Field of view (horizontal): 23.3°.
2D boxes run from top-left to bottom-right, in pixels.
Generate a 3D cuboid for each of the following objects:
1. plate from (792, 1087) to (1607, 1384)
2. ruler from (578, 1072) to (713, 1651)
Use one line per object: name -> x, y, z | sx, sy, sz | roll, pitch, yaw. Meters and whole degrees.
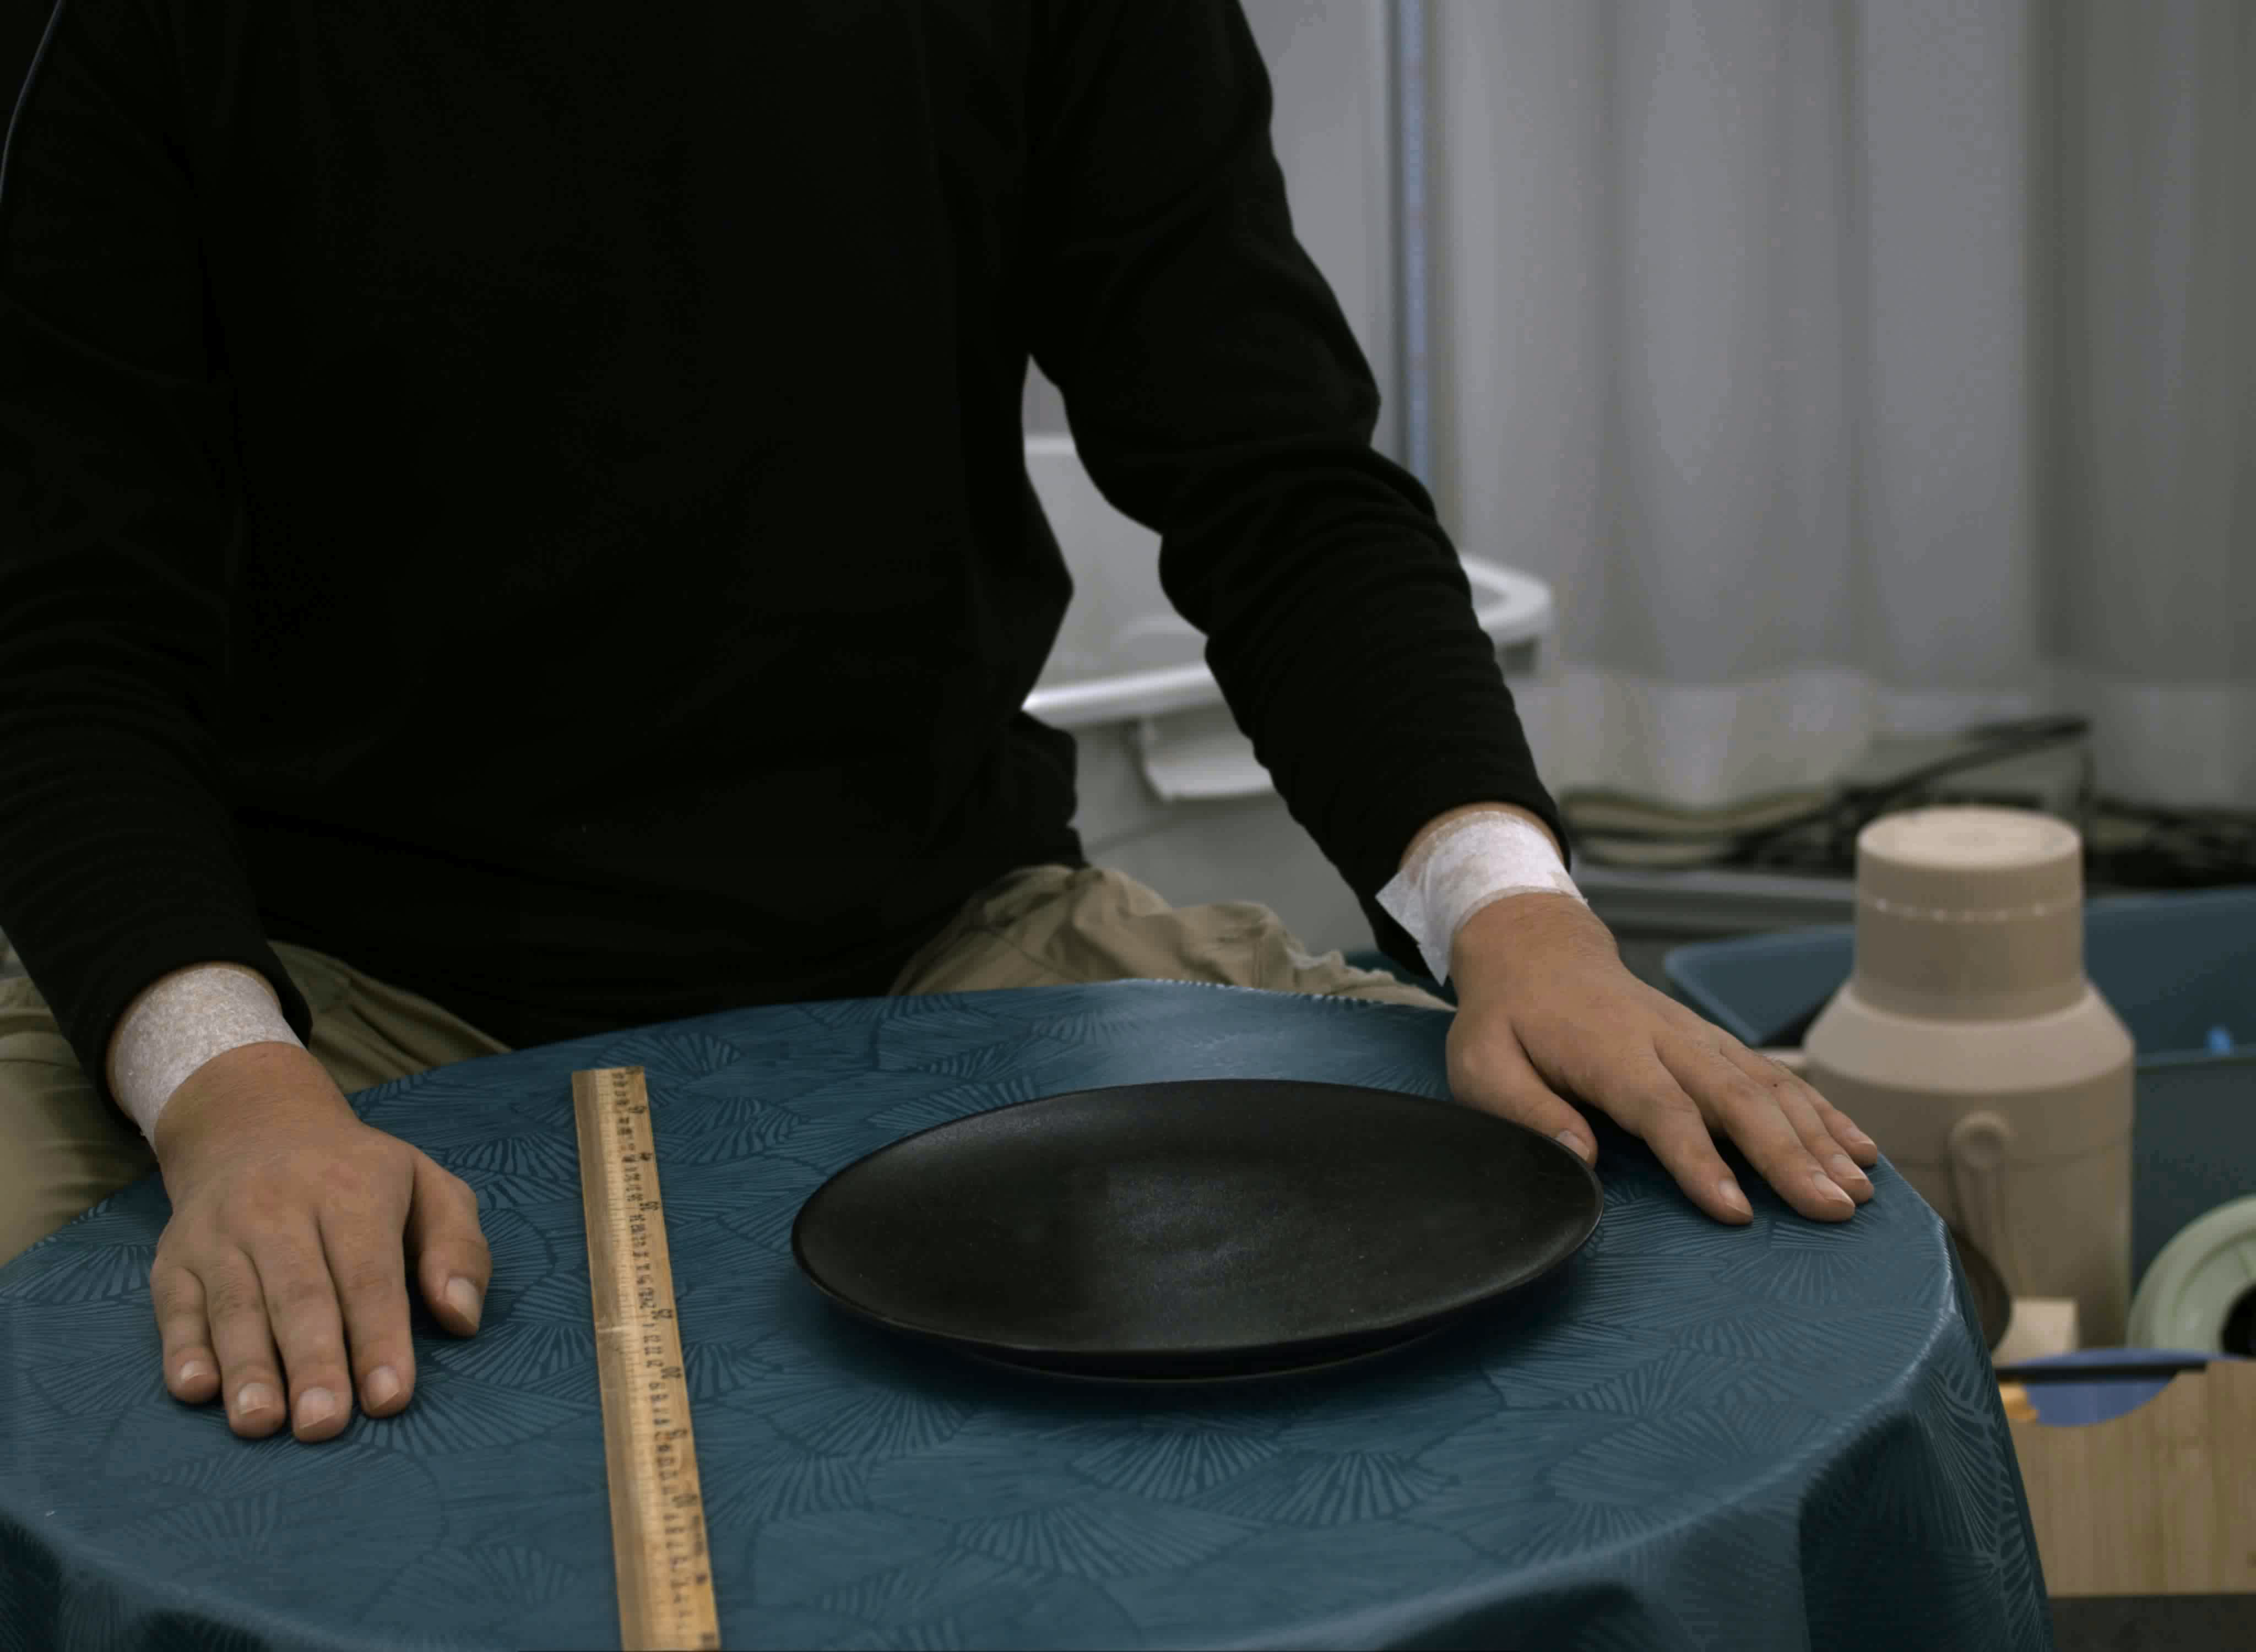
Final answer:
plate -> 0.022, 0.124, 1.631 | 0.243, 0.023, 0.246 | -3, 15, 0
ruler -> -0.144, 0.147, 1.610 | 0.026, 0.006, 0.504 | -3, 15, -6
